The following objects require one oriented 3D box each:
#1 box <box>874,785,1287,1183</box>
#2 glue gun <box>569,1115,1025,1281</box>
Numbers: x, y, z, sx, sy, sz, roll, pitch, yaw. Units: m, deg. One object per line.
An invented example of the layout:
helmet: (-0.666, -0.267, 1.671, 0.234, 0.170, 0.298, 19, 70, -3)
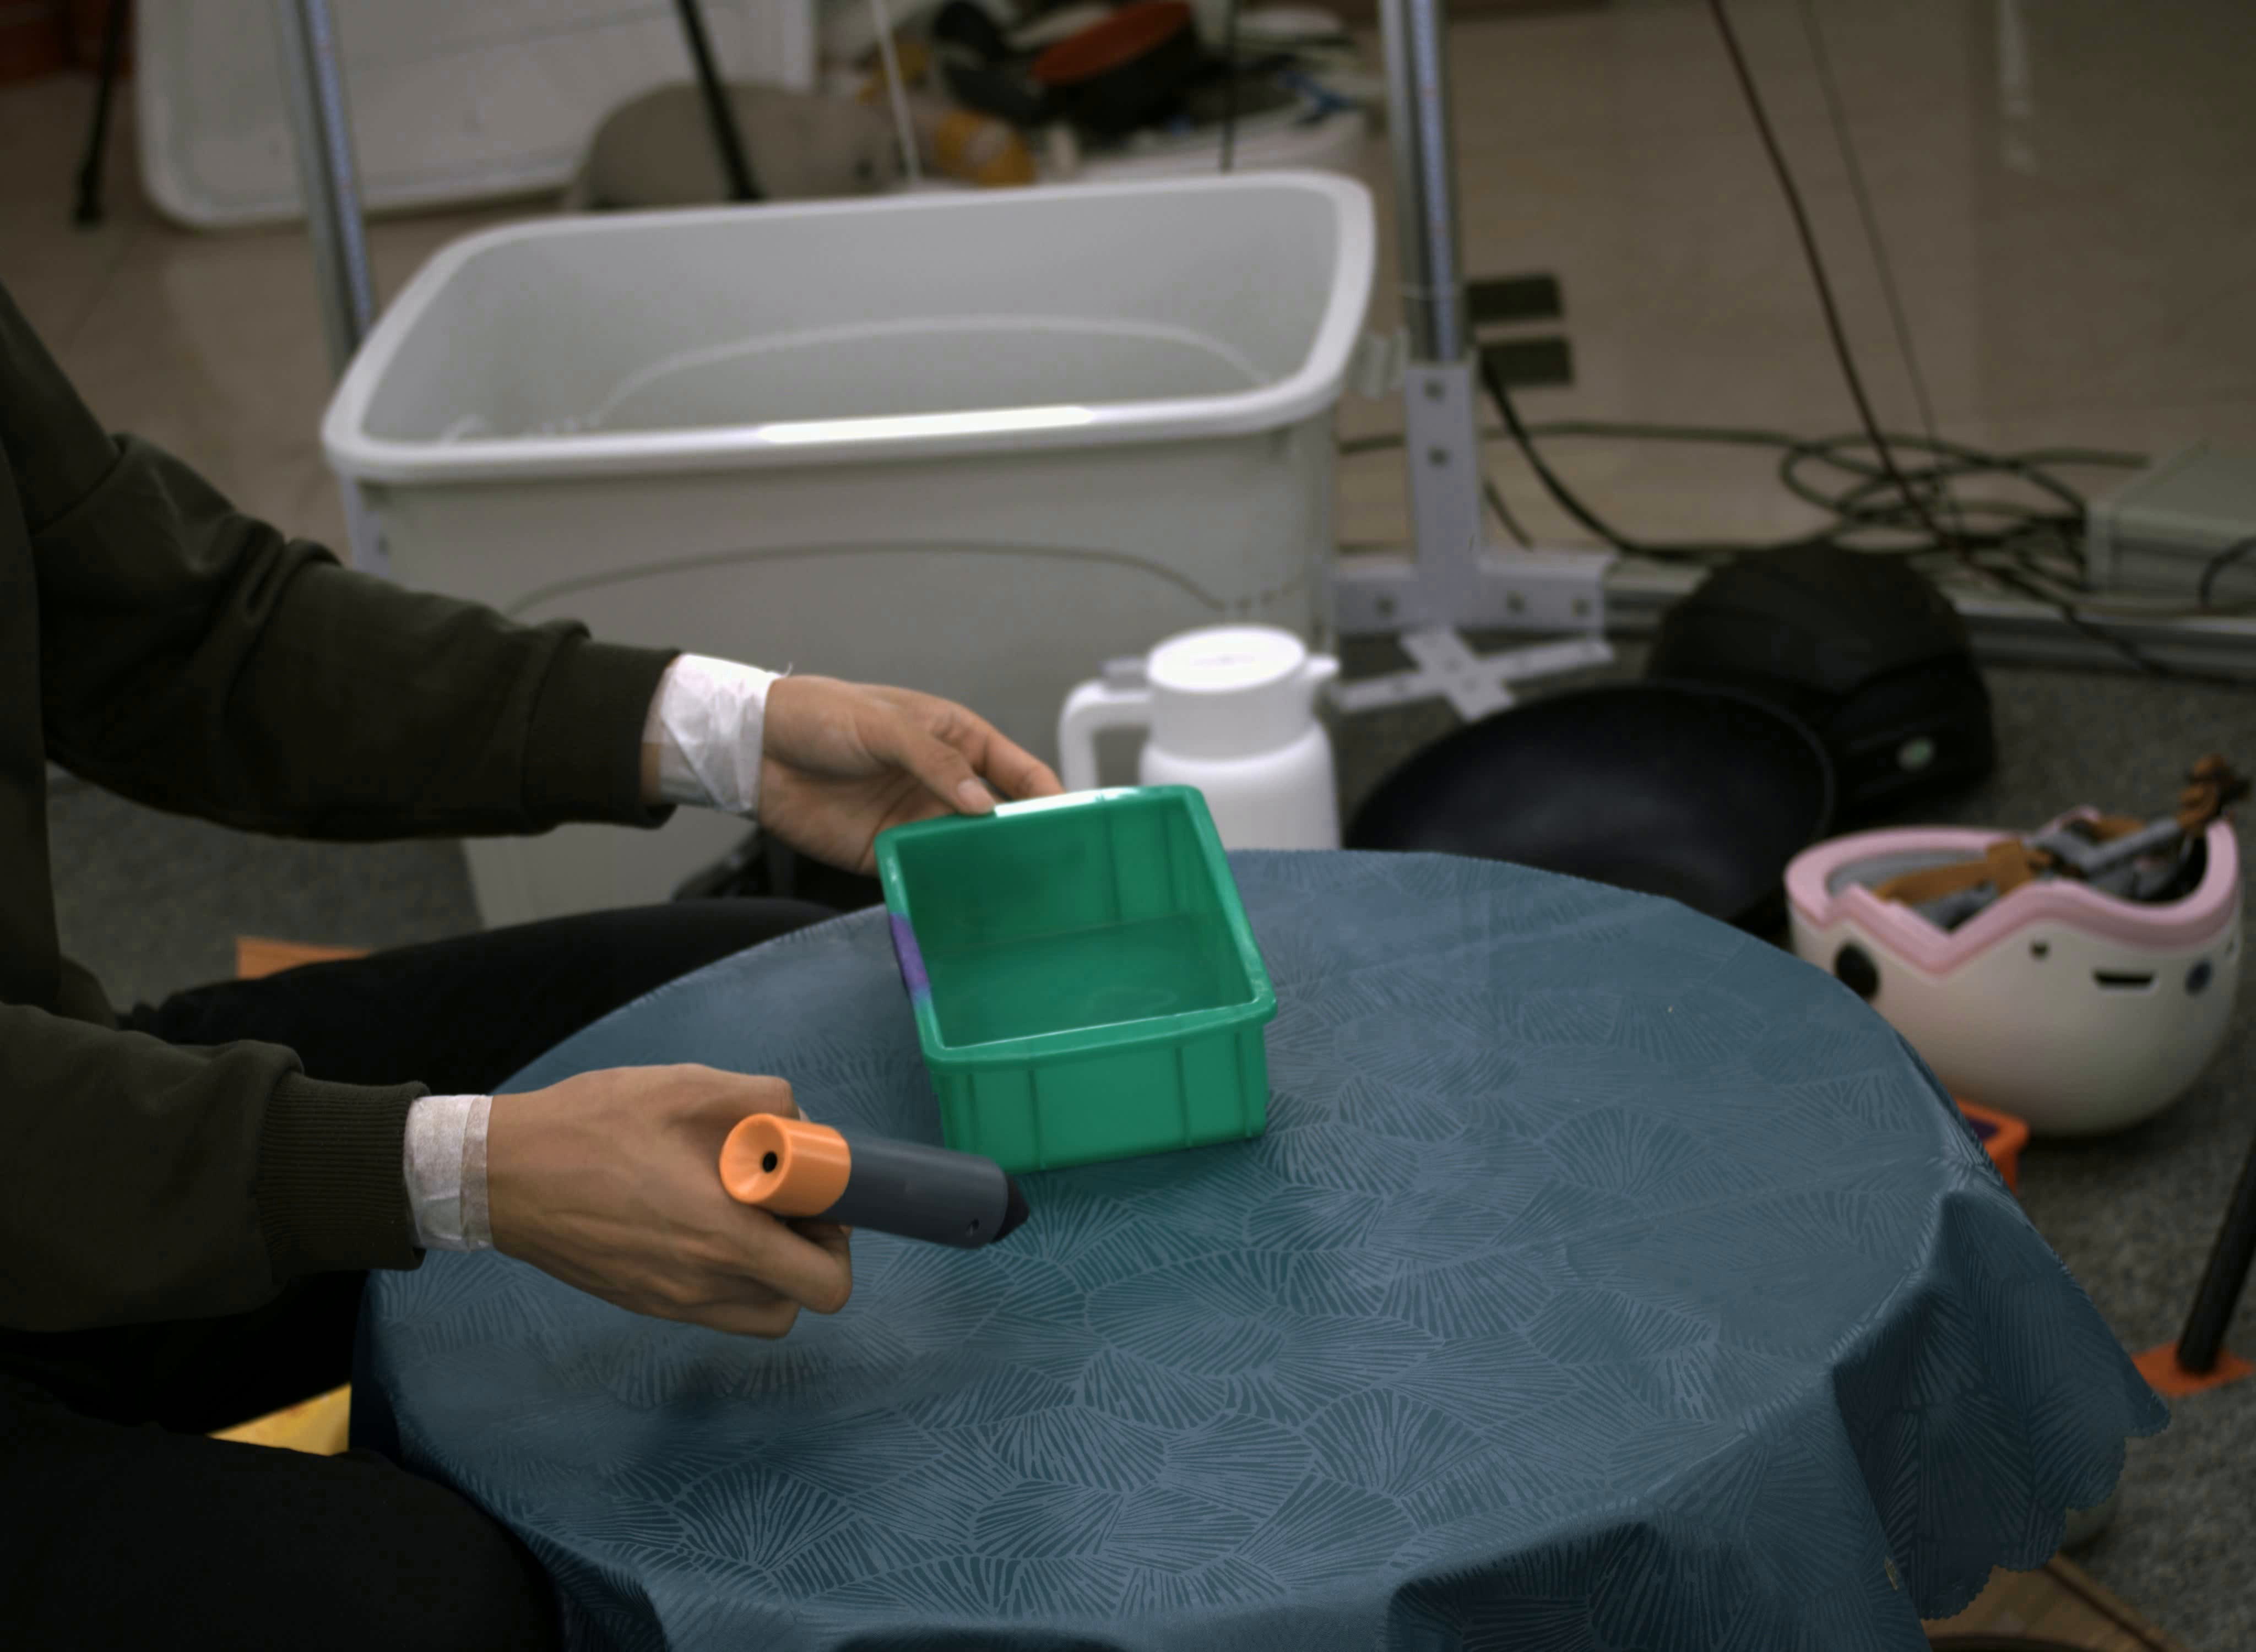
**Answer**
box: (-0.019, 0.063, 2.235, 0.138, 0.066, 0.207, -10, 29, -6)
glue gun: (-0.120, 0.136, 2.035, 0.140, 0.040, 0.119, -6, -21, 34)
